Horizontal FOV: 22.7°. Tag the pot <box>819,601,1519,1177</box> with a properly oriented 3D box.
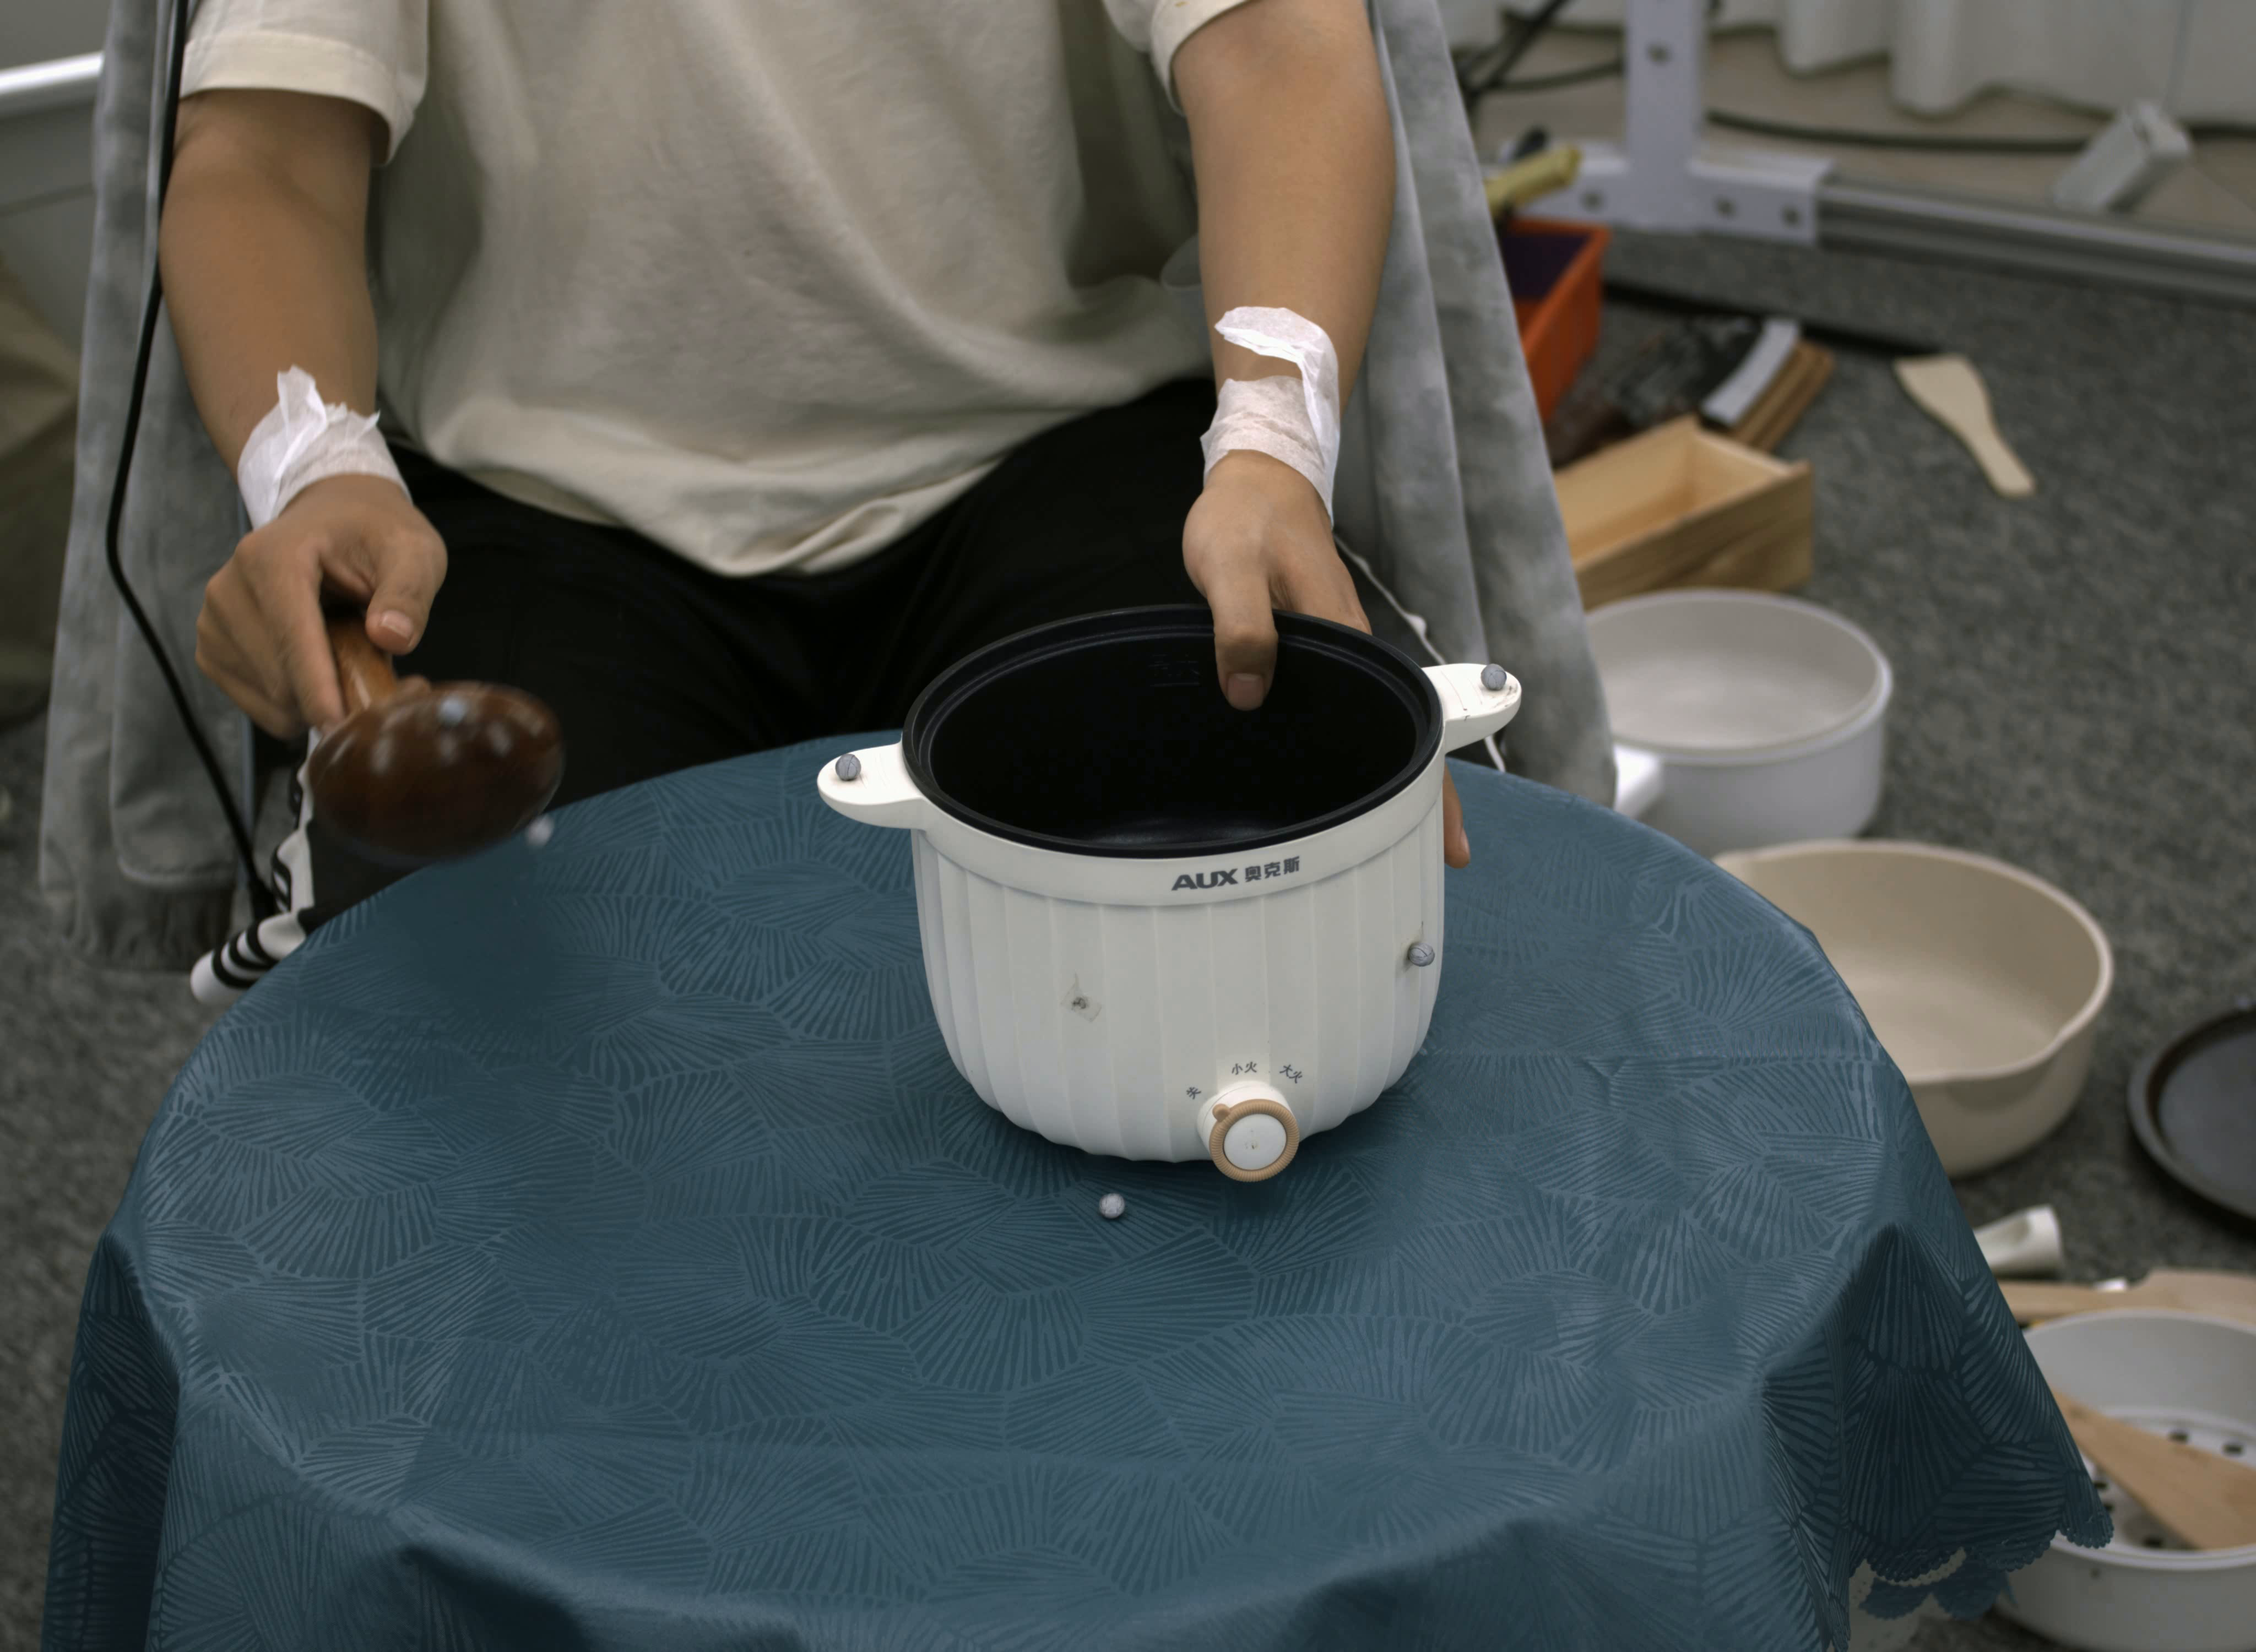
[{"bbox_3d":[0.021,0.025,1.895,0.240,0.141,0.192,-10,24,-10],"label":"pot"}]

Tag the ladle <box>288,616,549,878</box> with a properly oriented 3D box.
[{"bbox_3d":[-0.245,-0.049,1.859,0.082,0.076,0.276,0,21,-14],"label":"ladle"}]
